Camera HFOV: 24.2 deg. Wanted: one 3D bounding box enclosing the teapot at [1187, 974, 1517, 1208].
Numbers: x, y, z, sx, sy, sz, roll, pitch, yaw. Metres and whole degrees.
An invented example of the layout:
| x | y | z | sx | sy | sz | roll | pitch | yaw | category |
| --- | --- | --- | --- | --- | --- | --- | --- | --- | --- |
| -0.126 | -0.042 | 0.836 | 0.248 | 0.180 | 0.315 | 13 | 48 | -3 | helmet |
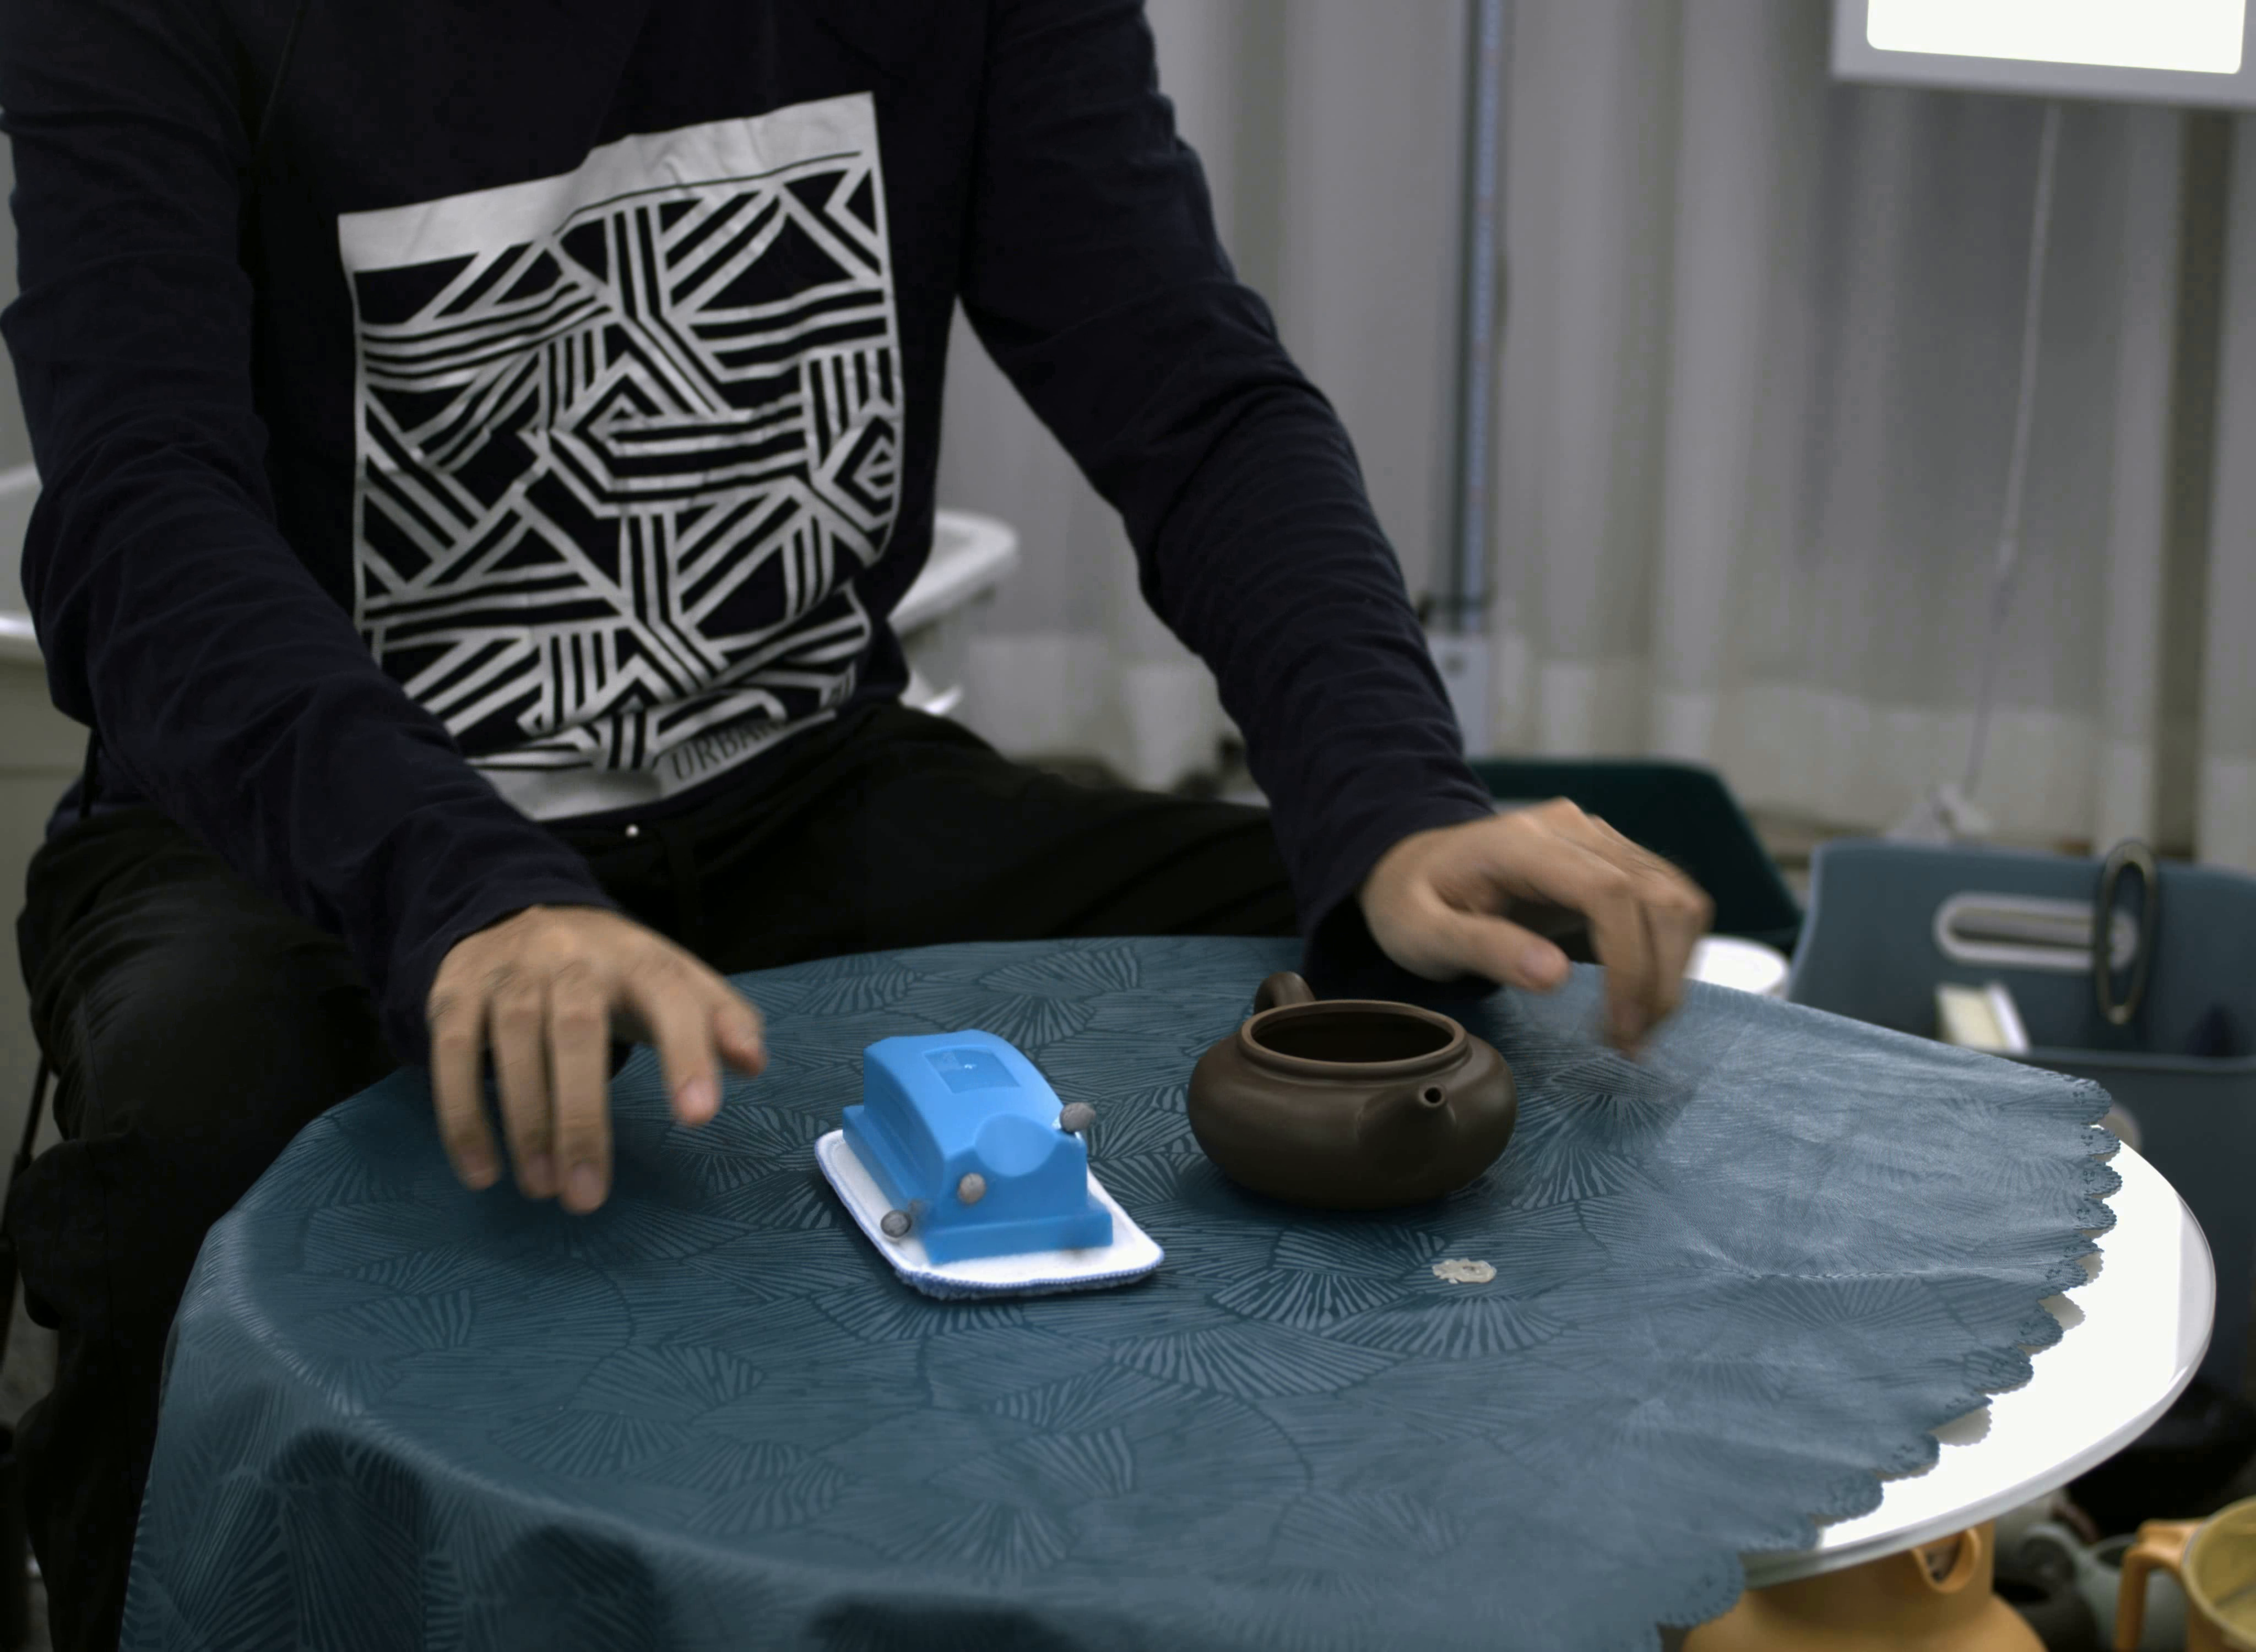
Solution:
| x | y | z | sx | sy | sz | roll | pitch | yaw | category |
| --- | --- | --- | --- | --- | --- | --- | --- | --- | --- |
| 0.068 | 0.083 | 1.635 | 0.103 | 0.054 | 0.151 | -5 | 16 | -23 | teapot |

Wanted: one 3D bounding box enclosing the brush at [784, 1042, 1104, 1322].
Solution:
| x | y | z | sx | sy | sz | roll | pitch | yaw | category |
| --- | --- | --- | --- | --- | --- | --- | --- | --- | --- |
| -0.053 | 0.104 | 1.588 | 0.084 | 0.056 | 0.142 | 4 | 15 | -14 | brush |
